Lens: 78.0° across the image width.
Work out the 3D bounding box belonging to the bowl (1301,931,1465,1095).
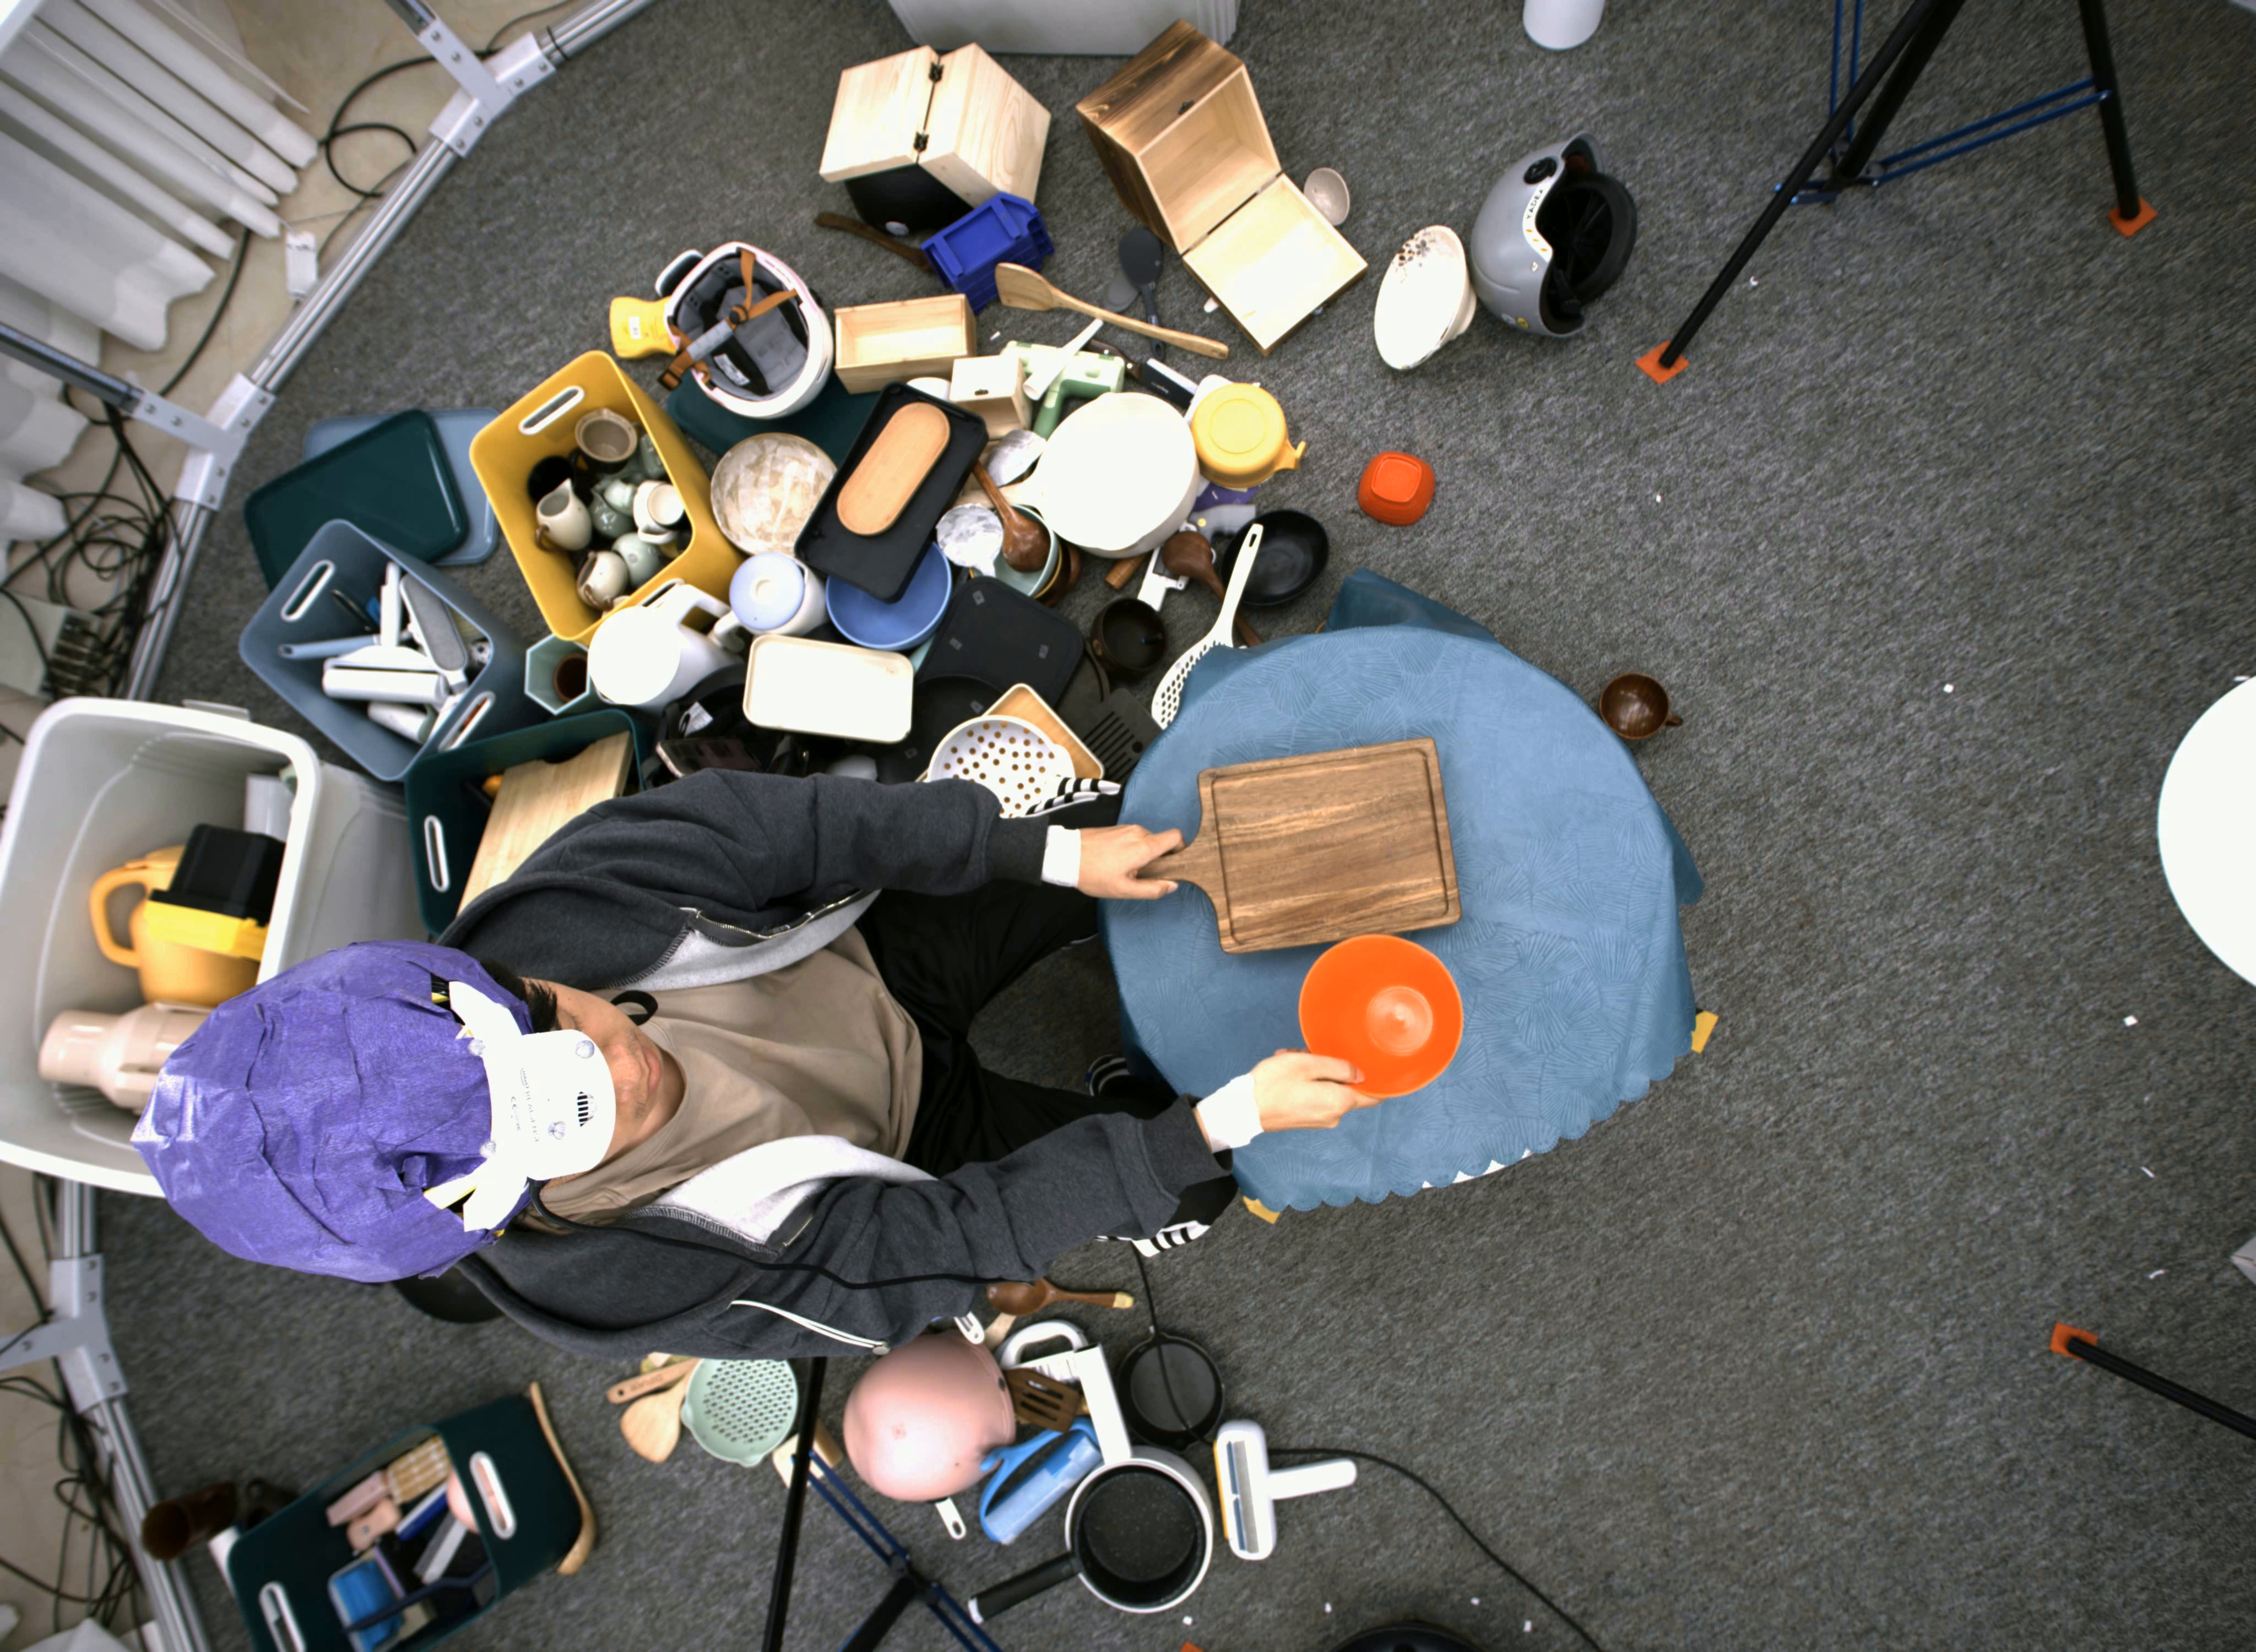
[{"bbox_3d":[0.243,0.170,1.280,0.149,0.104,0.147,-1,87,22],"label":"bowl"}]

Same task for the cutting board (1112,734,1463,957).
[{"bbox_3d":[0.157,0.027,1.435,0.353,0.023,0.200,-9,88,6],"label":"cutting board"}]
